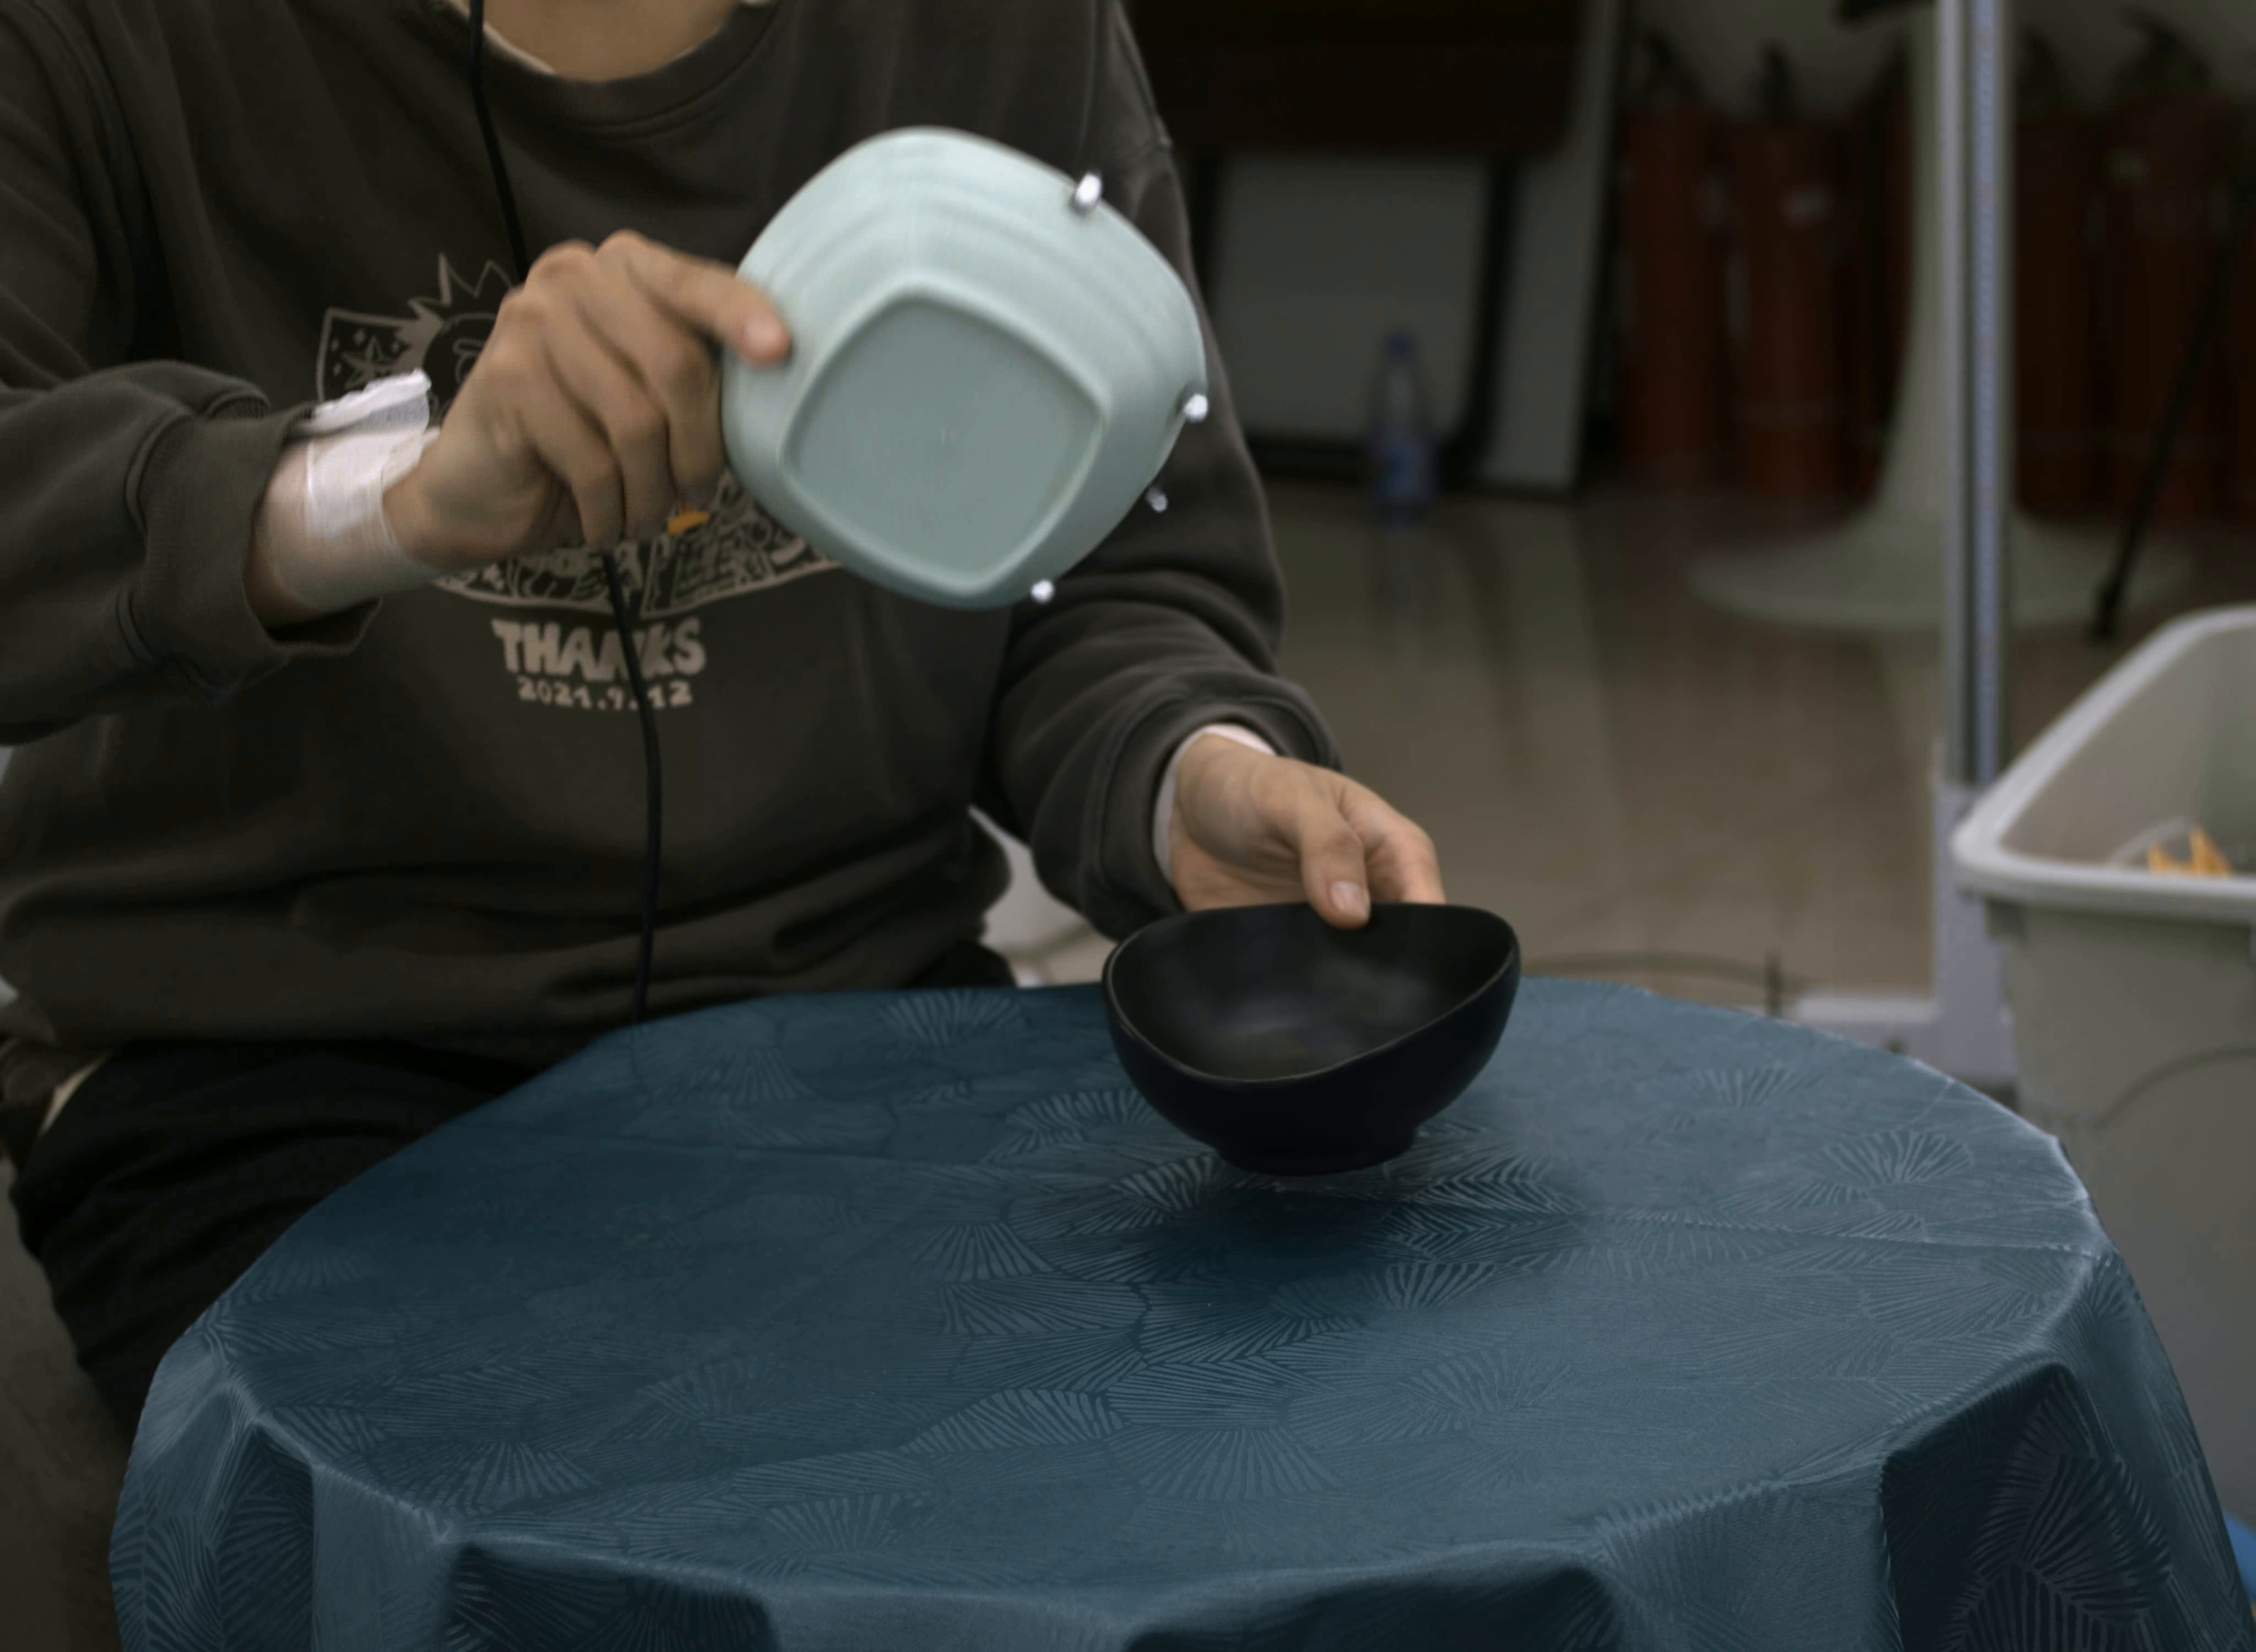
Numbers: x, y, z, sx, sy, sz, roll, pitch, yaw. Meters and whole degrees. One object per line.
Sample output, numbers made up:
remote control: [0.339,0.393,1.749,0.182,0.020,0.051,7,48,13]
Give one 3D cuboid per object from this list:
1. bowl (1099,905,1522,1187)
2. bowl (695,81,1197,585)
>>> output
bowl: [0.060,0.075,1.747,0.137,0.067,0.169,-1,16,15]
bowl: [-0.055,-0.134,1.565,0.150,0.153,0.058,-2,21,6]
